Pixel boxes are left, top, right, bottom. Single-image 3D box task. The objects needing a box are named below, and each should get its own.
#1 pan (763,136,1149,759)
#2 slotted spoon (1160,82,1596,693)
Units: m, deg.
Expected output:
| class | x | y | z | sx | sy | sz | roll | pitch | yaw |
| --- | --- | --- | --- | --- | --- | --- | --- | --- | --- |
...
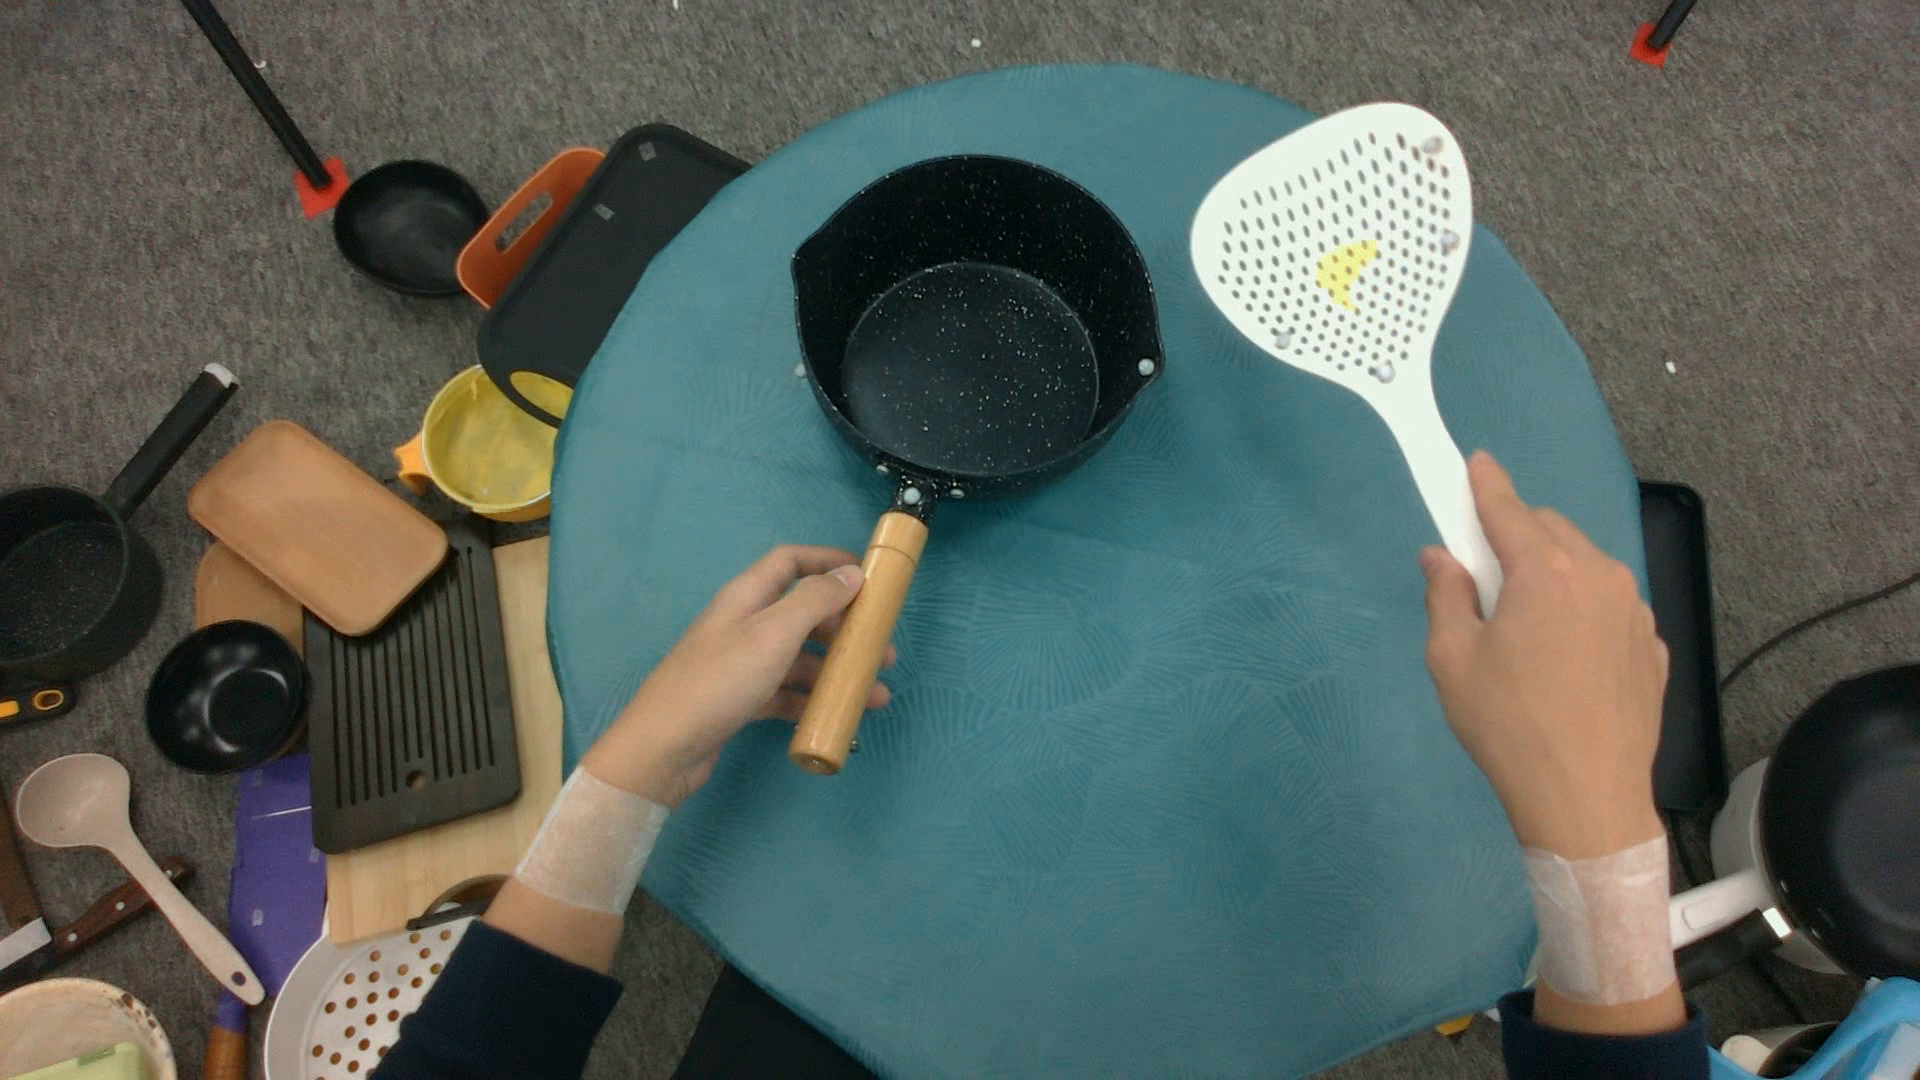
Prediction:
| class | x | y | z | sx | sy | sz | roll | pitch | yaw |
| --- | --- | --- | --- | --- | --- | --- | --- | --- | --- |
| pan | -0.023 | -0.044 | 0.702 | 0.207 | 0.108 | 0.344 | 16 | 70 | 2 |
| slotted spoon | 0.193 | -0.081 | 0.629 | 0.136 | 0.050 | 0.349 | -26 | 48 | 16 |
